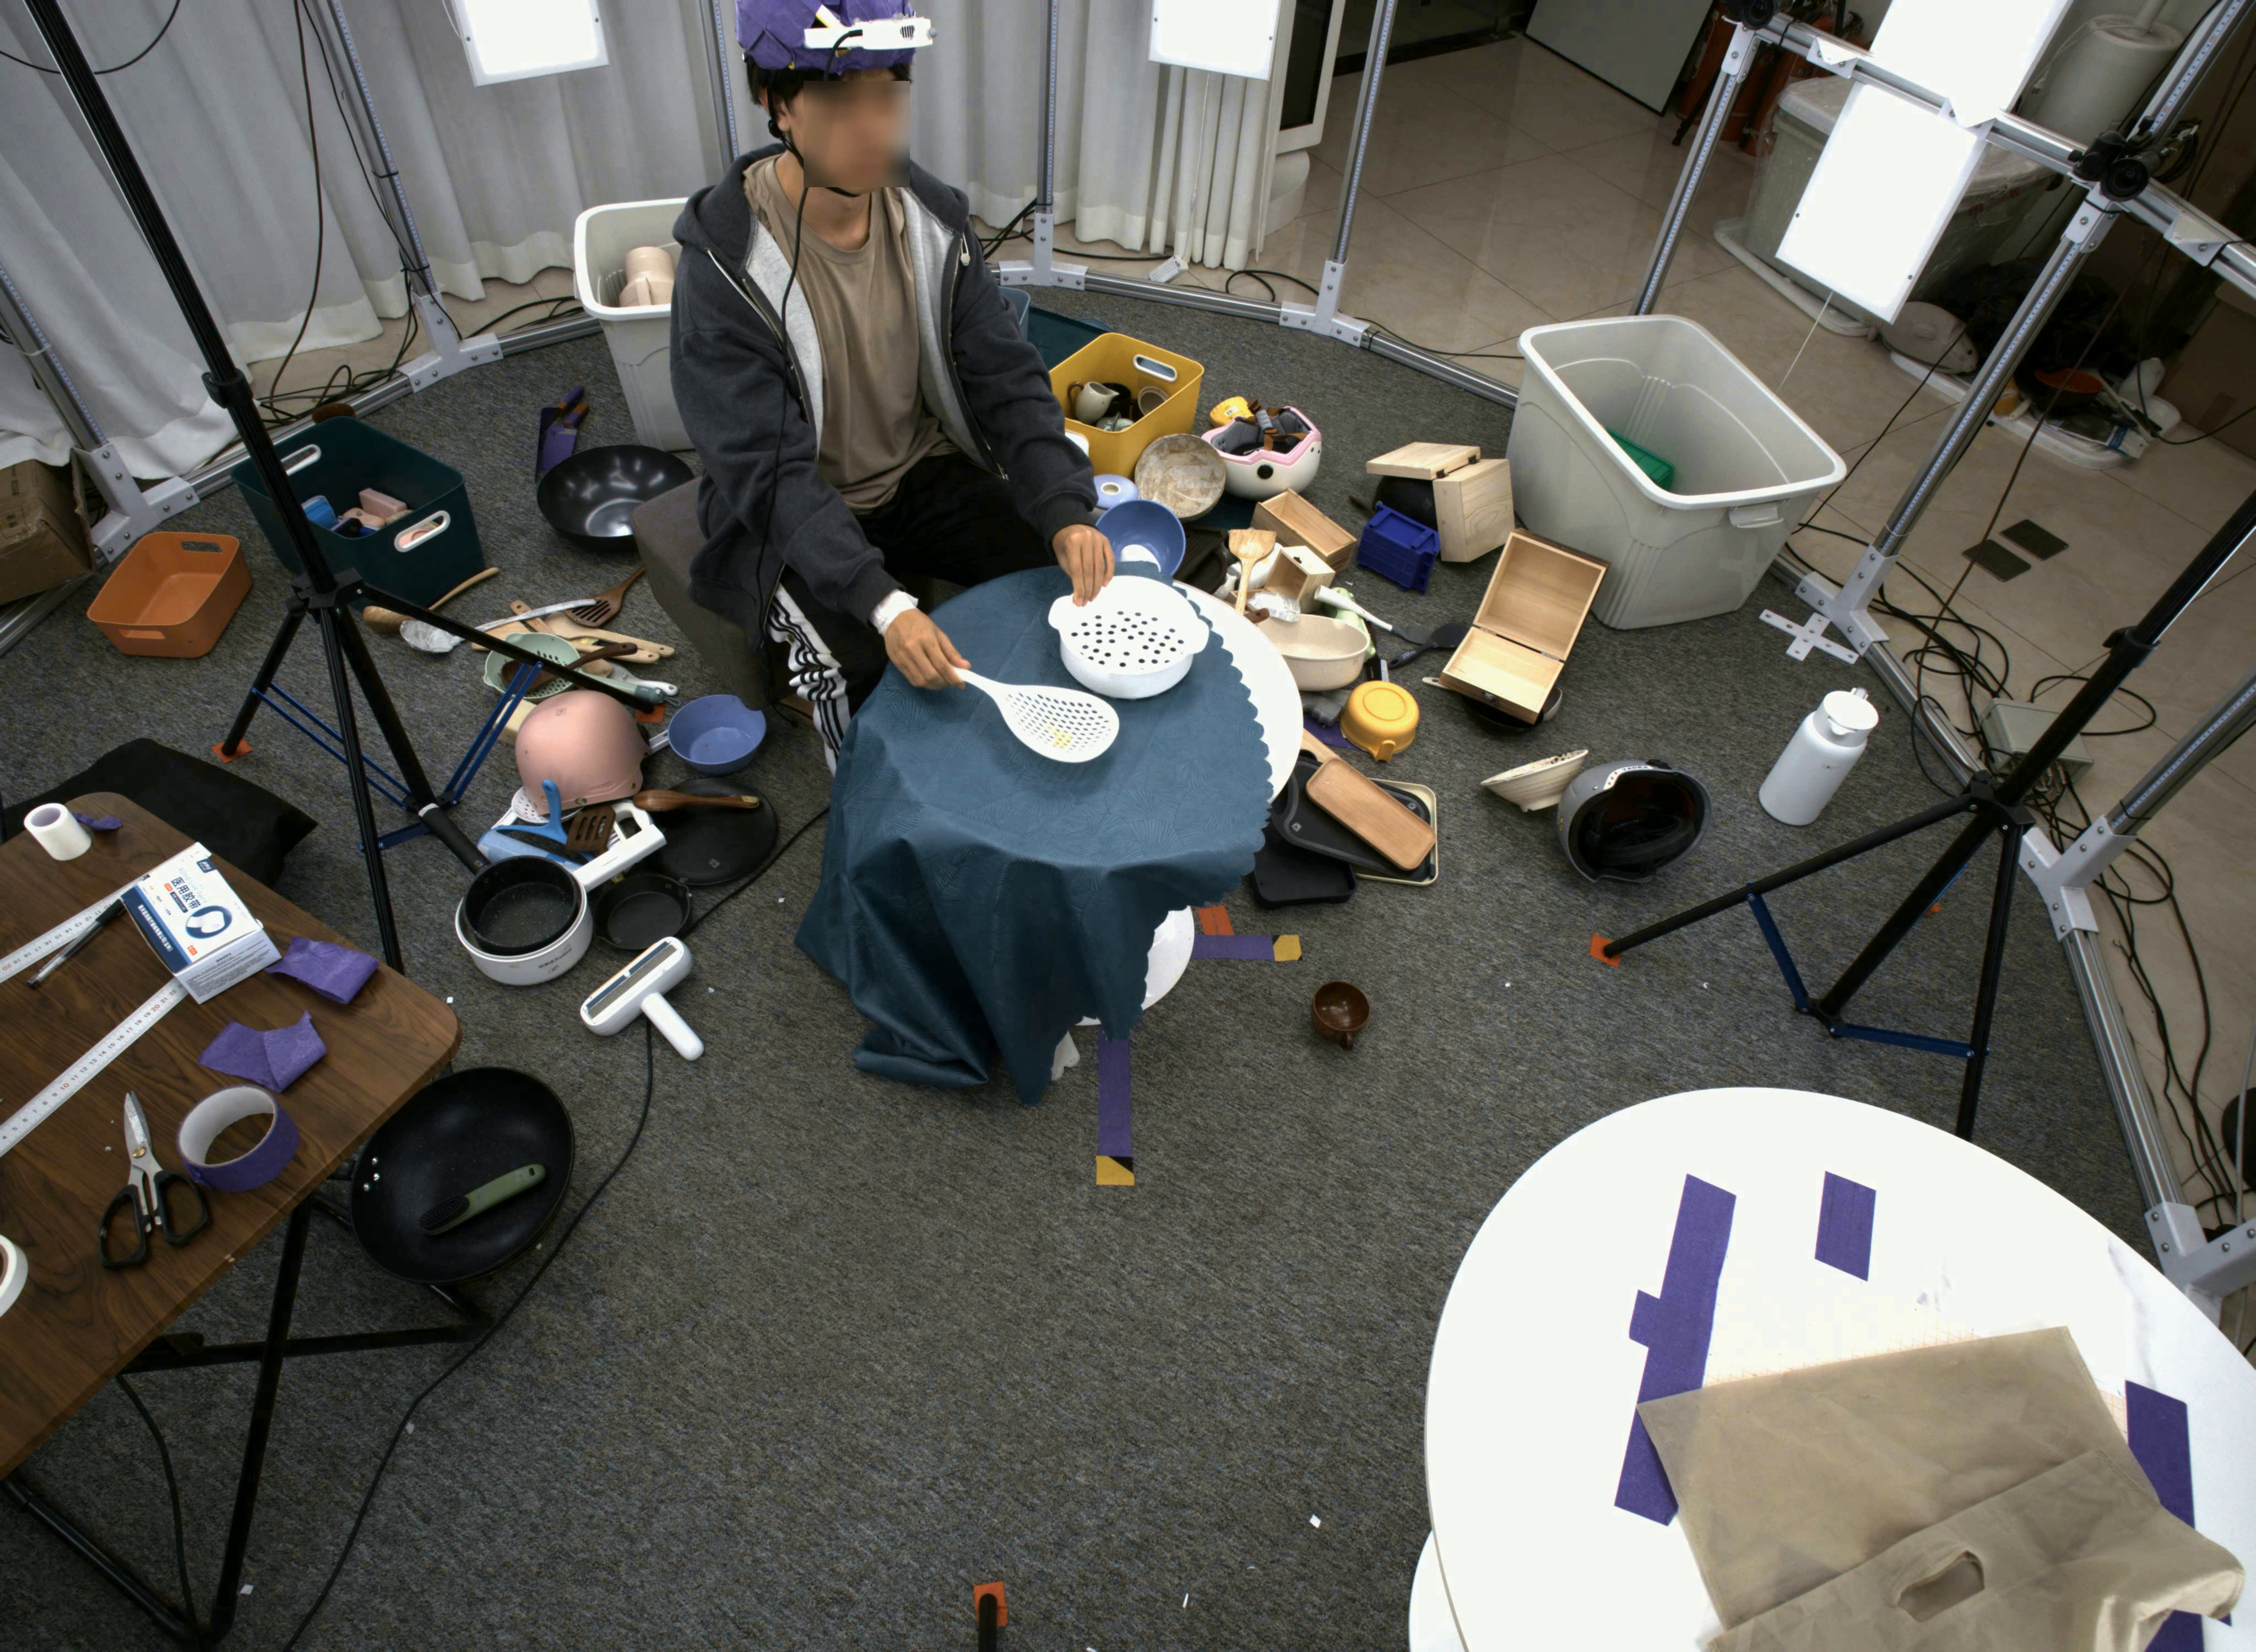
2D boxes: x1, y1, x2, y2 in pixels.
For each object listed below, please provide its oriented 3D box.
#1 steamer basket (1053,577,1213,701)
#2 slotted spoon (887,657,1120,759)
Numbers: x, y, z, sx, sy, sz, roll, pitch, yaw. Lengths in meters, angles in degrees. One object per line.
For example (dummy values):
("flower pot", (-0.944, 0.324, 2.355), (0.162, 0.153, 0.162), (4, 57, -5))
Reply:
("steamer basket", (0.005, -0.270, 1.856), (0.231, 0.067, 0.206), (12, 50, 4))
("slotted spoon", (-0.177, -0.178, 1.759), (0.350, 0.049, 0.139), (26, 52, 13))
